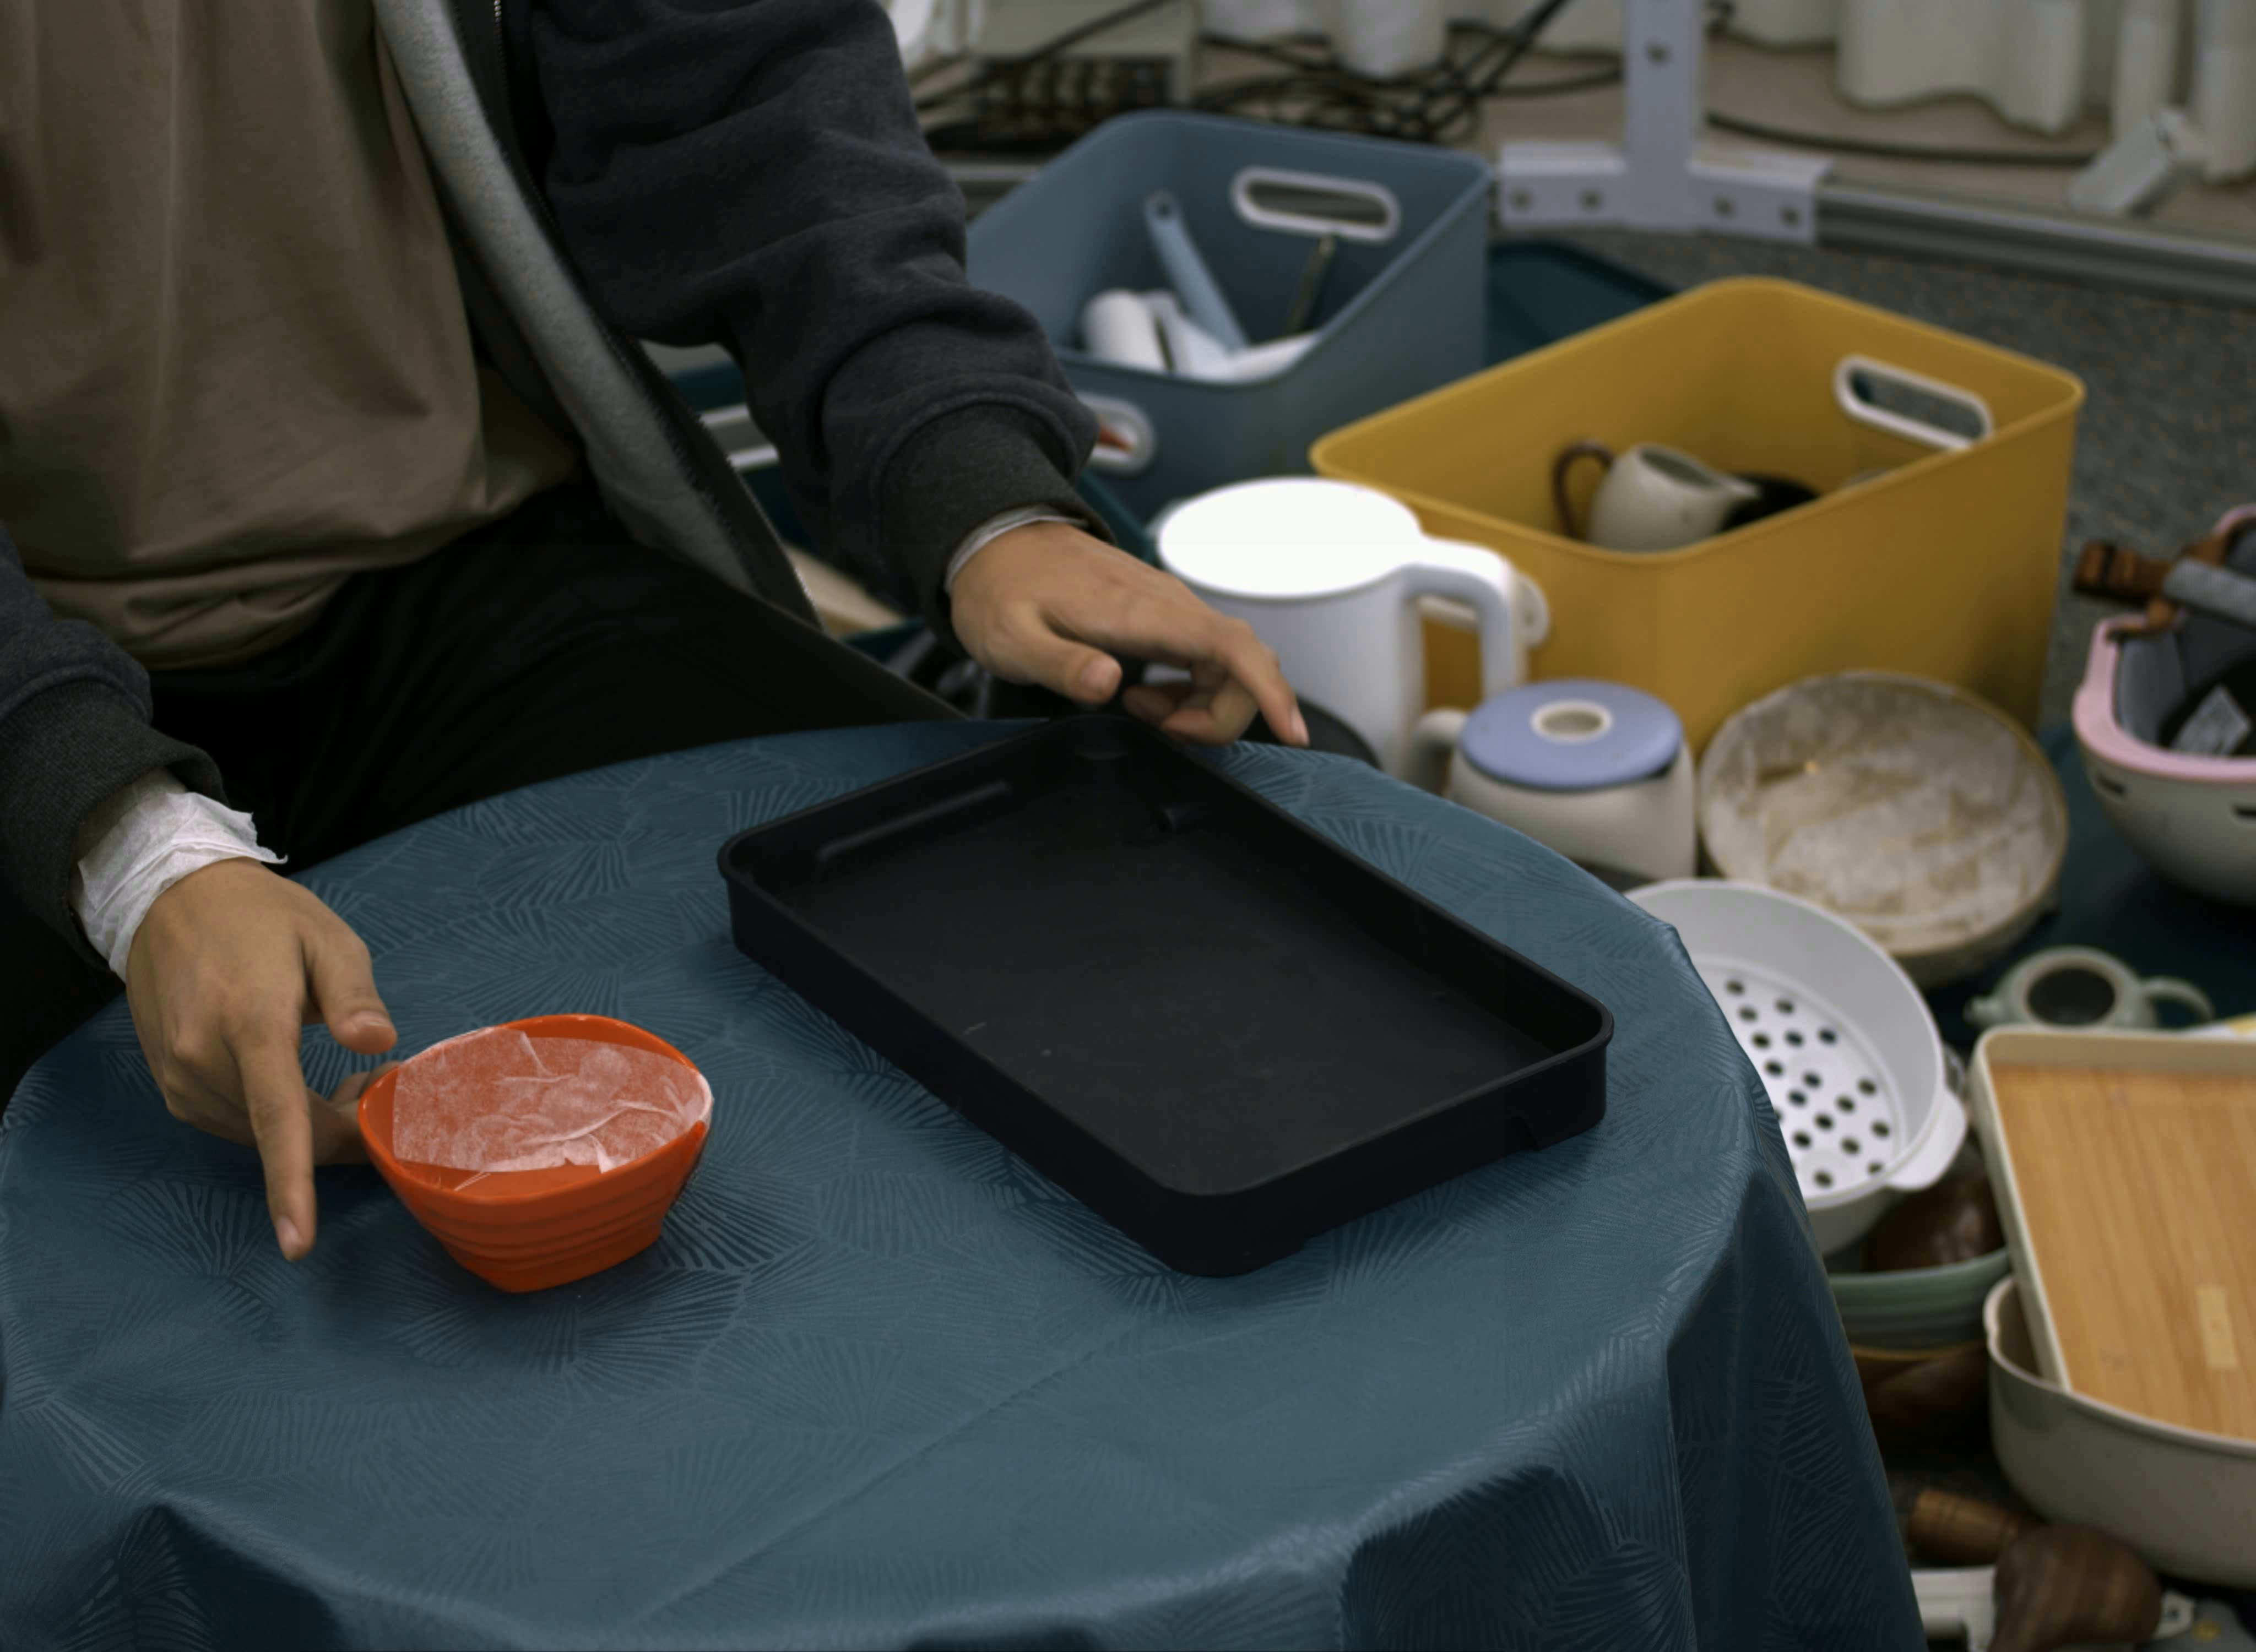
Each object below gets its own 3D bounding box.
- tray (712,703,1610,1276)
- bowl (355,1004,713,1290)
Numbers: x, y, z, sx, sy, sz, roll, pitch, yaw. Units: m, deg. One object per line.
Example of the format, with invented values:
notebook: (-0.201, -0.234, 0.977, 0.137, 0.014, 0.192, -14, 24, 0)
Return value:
tray: (0.007, 0.051, 1.957, 0.186, 0.036, 0.319, -20, 32, -29)
bowl: (-0.193, 0.110, 1.844, 0.118, 0.051, 0.121, -2, 29, 1)
